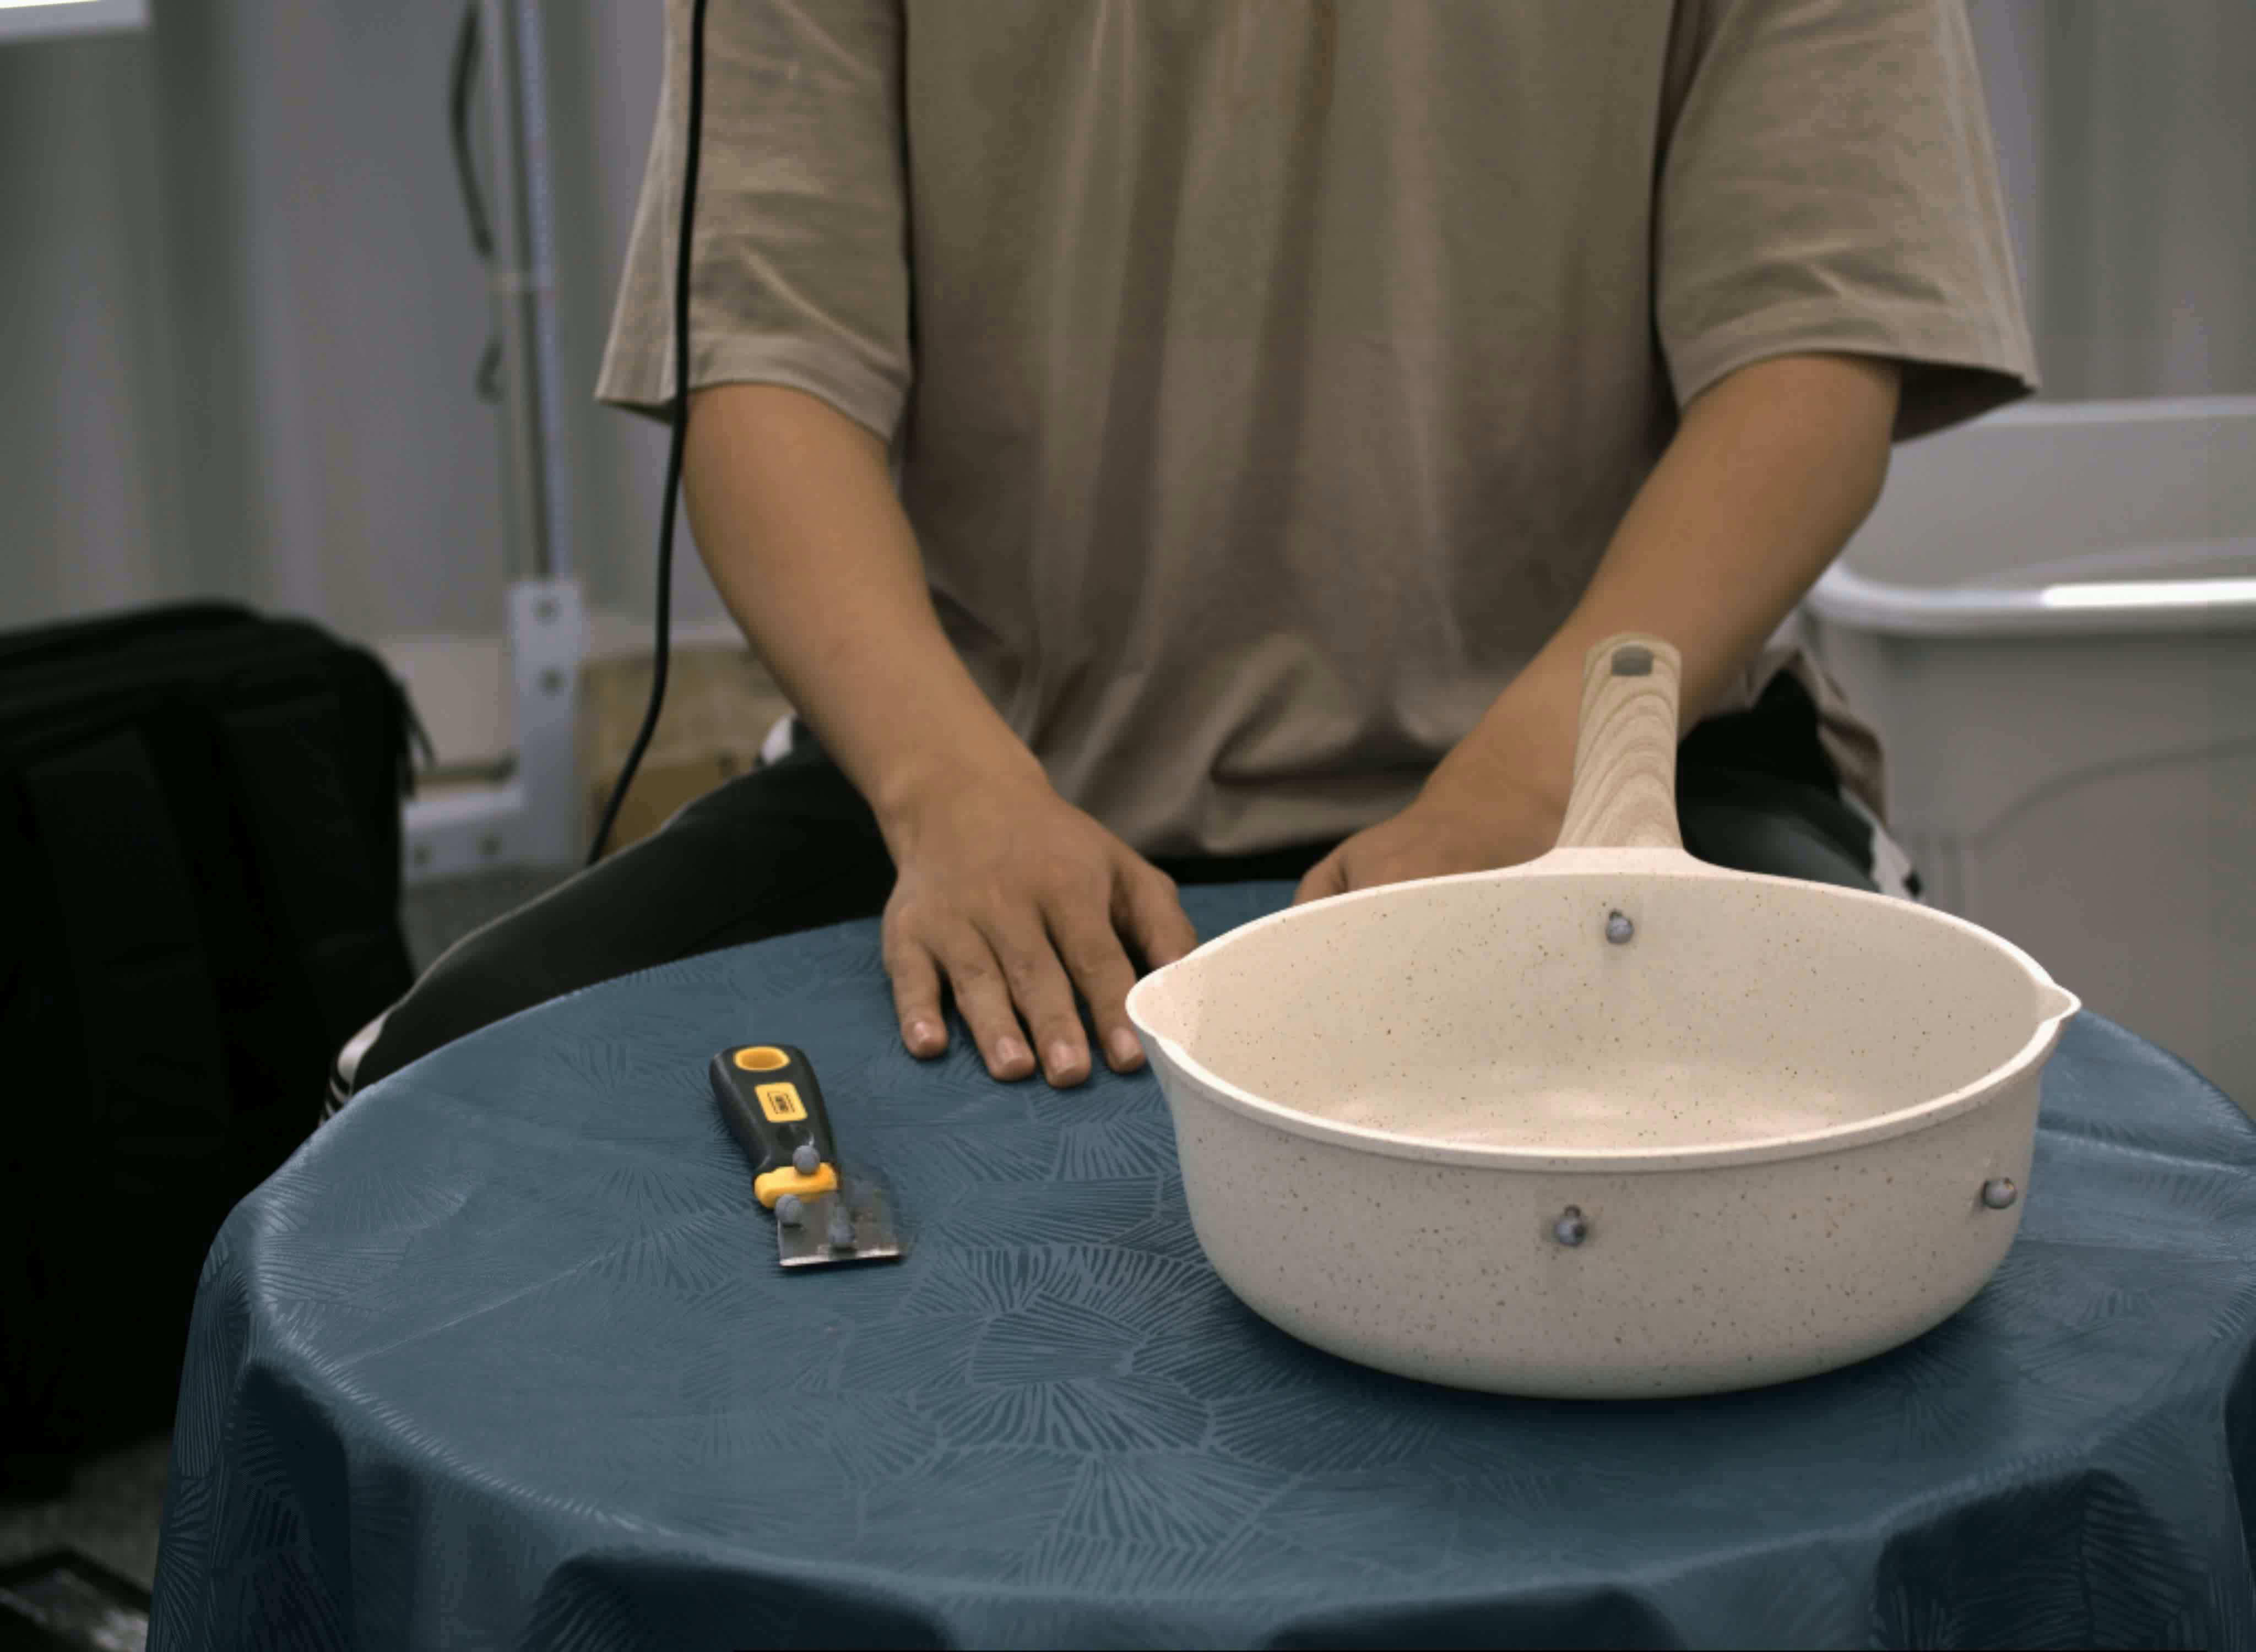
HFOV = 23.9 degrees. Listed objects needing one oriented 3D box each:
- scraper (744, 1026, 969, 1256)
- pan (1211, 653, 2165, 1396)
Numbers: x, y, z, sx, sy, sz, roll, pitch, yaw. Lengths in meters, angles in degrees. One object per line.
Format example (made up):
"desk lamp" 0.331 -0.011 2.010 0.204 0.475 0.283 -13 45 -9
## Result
"scraper" -0.085 0.093 1.579 0.038 0.015 0.173 -10 20 -13
"pan" 0.166 0.053 1.547 0.264 0.102 0.434 -3 16 8
